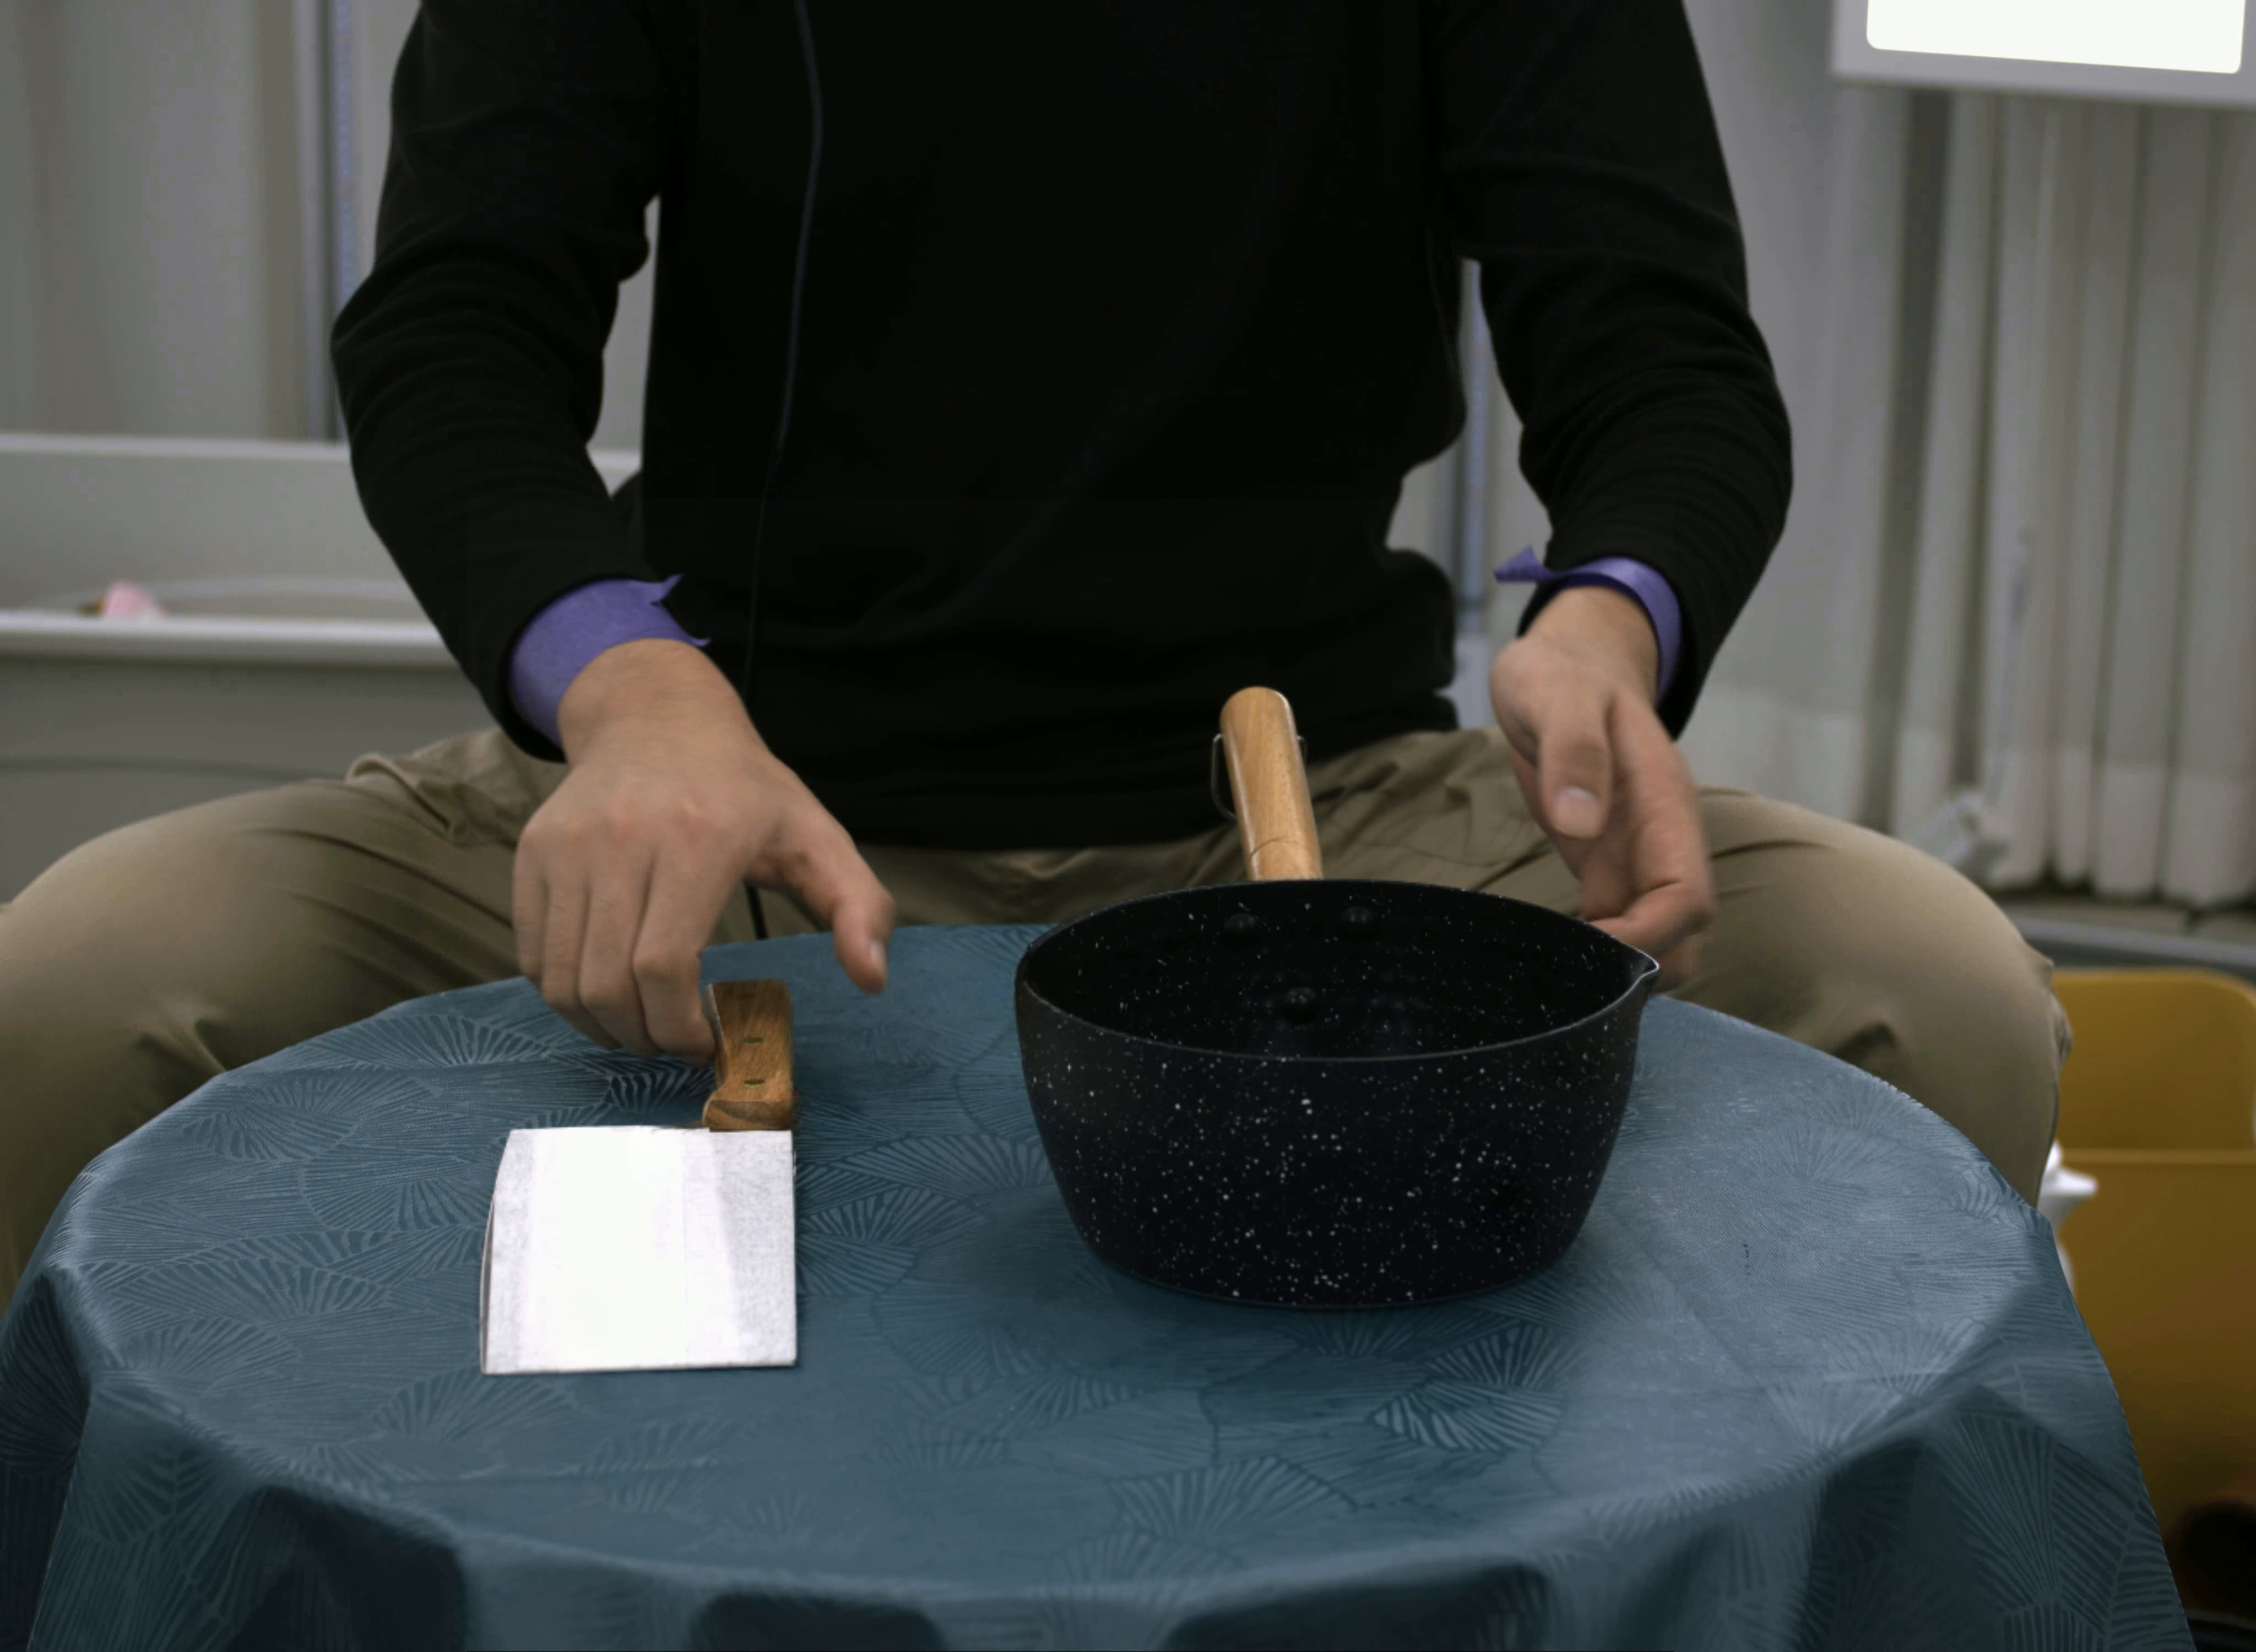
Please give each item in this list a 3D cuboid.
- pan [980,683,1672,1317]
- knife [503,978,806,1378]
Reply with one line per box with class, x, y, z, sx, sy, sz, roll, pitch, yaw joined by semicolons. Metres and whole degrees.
pan;0.053;0.049;1.653;0.207;0.109;0.340;-1;17;-5
knife;-0.145;0.106;1.614;0.093;0.021;0.303;-2;18;-3
